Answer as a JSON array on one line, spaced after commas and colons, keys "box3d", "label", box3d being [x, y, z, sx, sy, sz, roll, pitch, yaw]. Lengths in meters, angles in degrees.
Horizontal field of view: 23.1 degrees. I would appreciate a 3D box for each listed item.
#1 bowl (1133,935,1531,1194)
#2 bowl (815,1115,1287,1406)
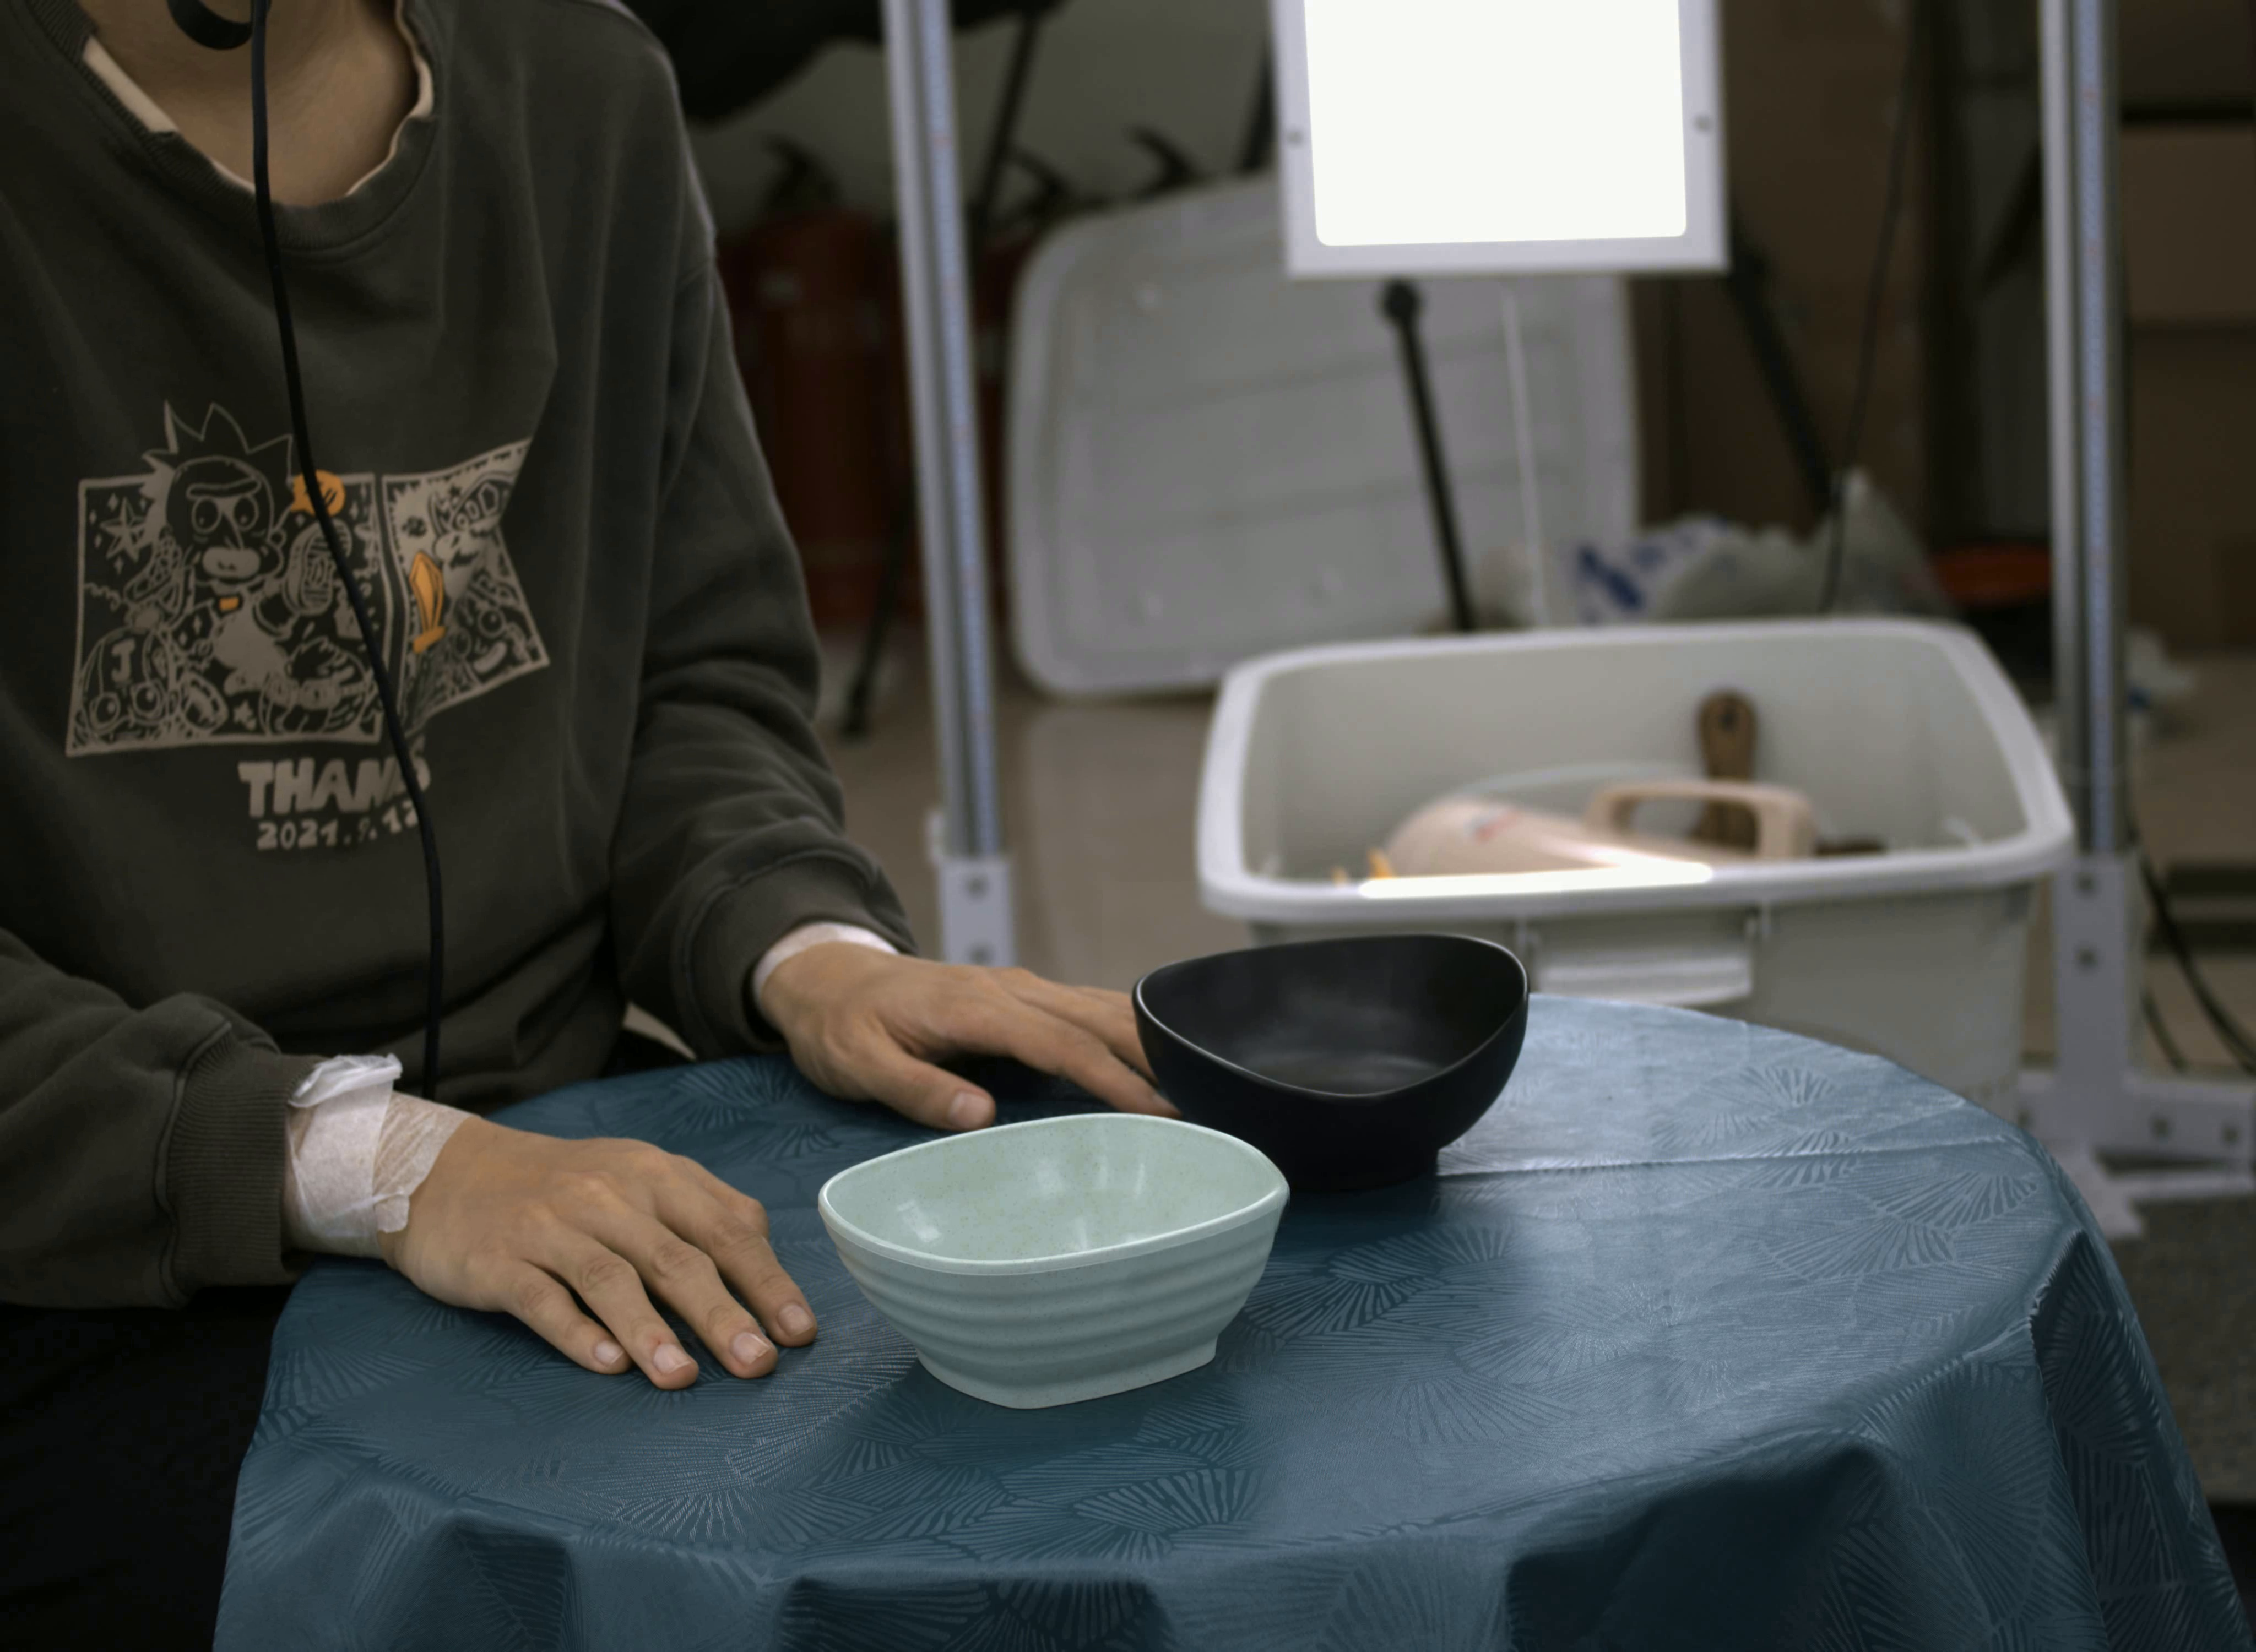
[{"box3d": [0.073, 0.086, 1.903, 0.136, 0.067, 0.171, -7, 15, -6], "label": "bowl"}, {"box3d": [-0.023, 0.139, 1.732, 0.151, 0.059, 0.151, -3, 13, -1], "label": "bowl"}]
